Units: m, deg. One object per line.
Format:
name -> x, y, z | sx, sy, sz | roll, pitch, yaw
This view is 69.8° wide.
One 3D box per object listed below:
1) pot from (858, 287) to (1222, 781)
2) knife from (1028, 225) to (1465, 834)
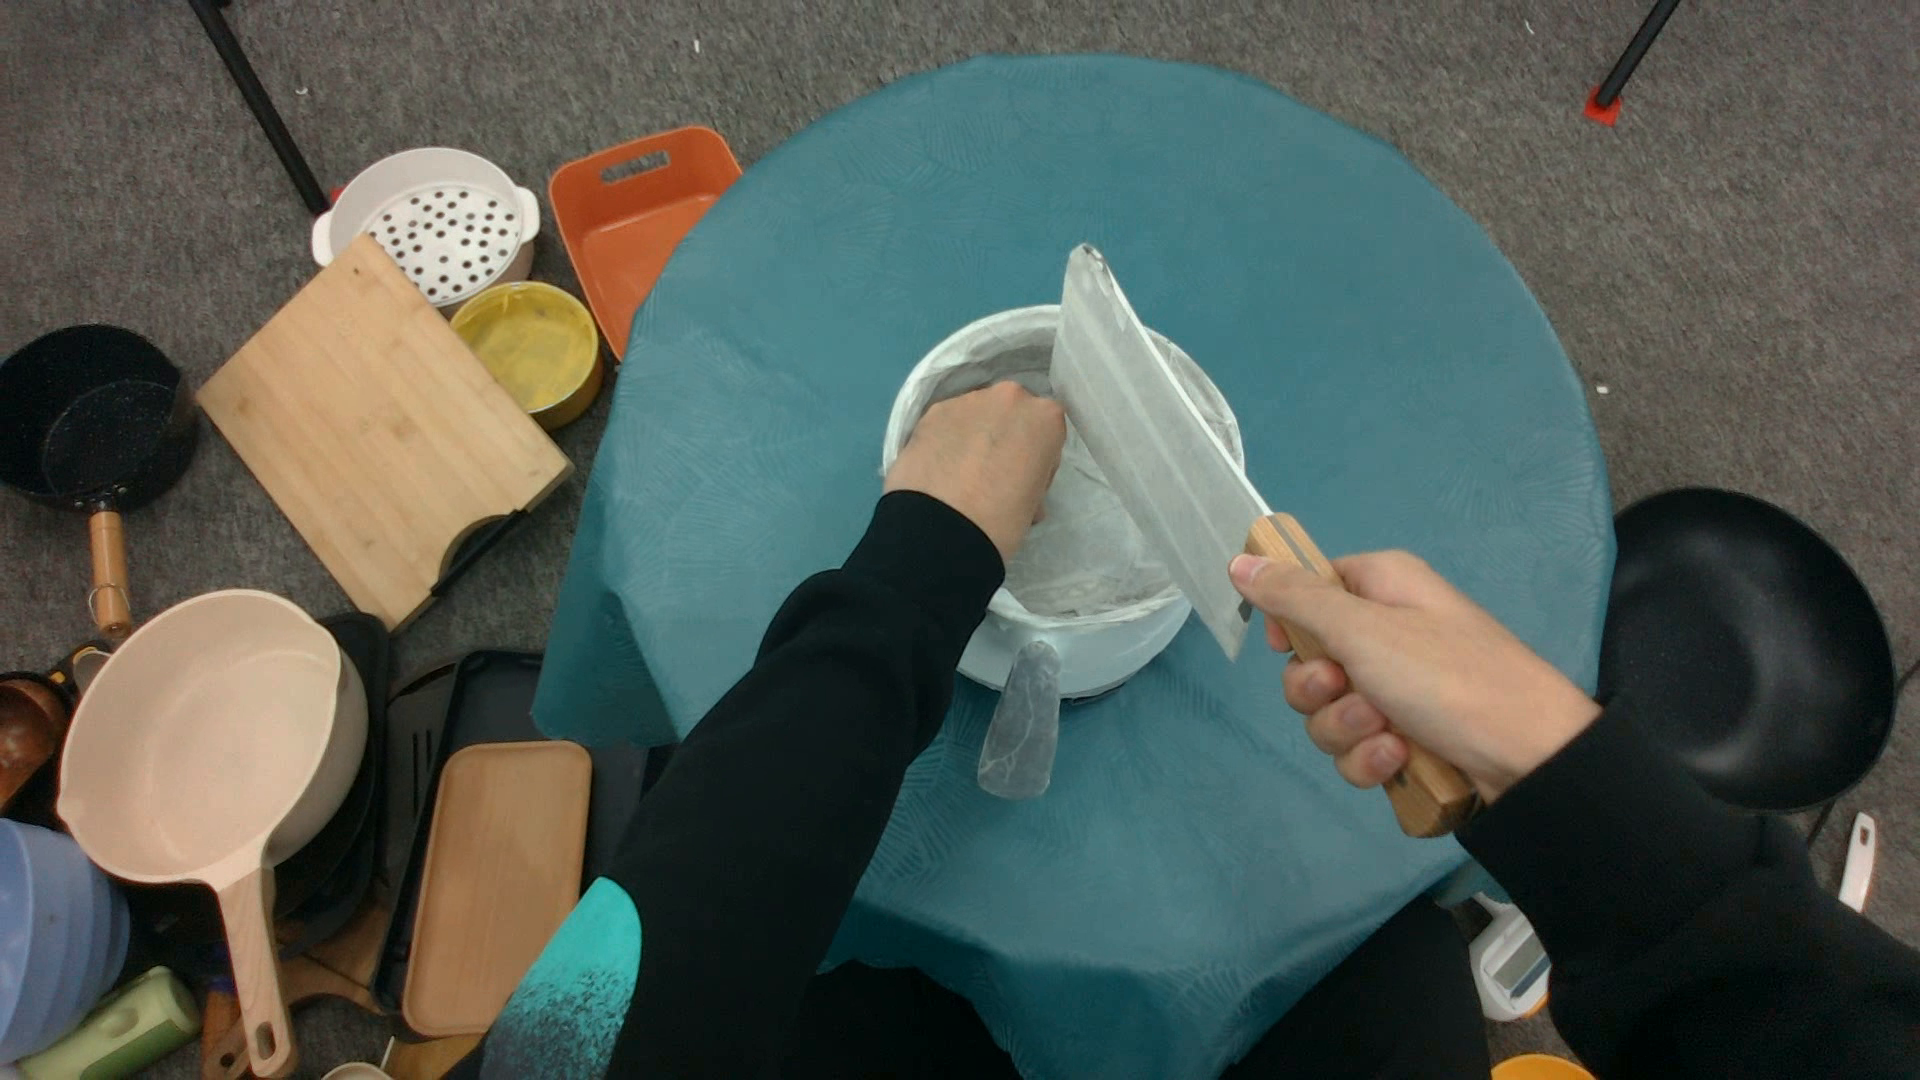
pot -> 0.032, 0.001, 0.714 | 0.179, 0.136, 0.234 | 7, 65, 0
knife -> 0.096, -0.013, 0.556 | 0.022, 0.113, 0.316 | -16, 48, -17
